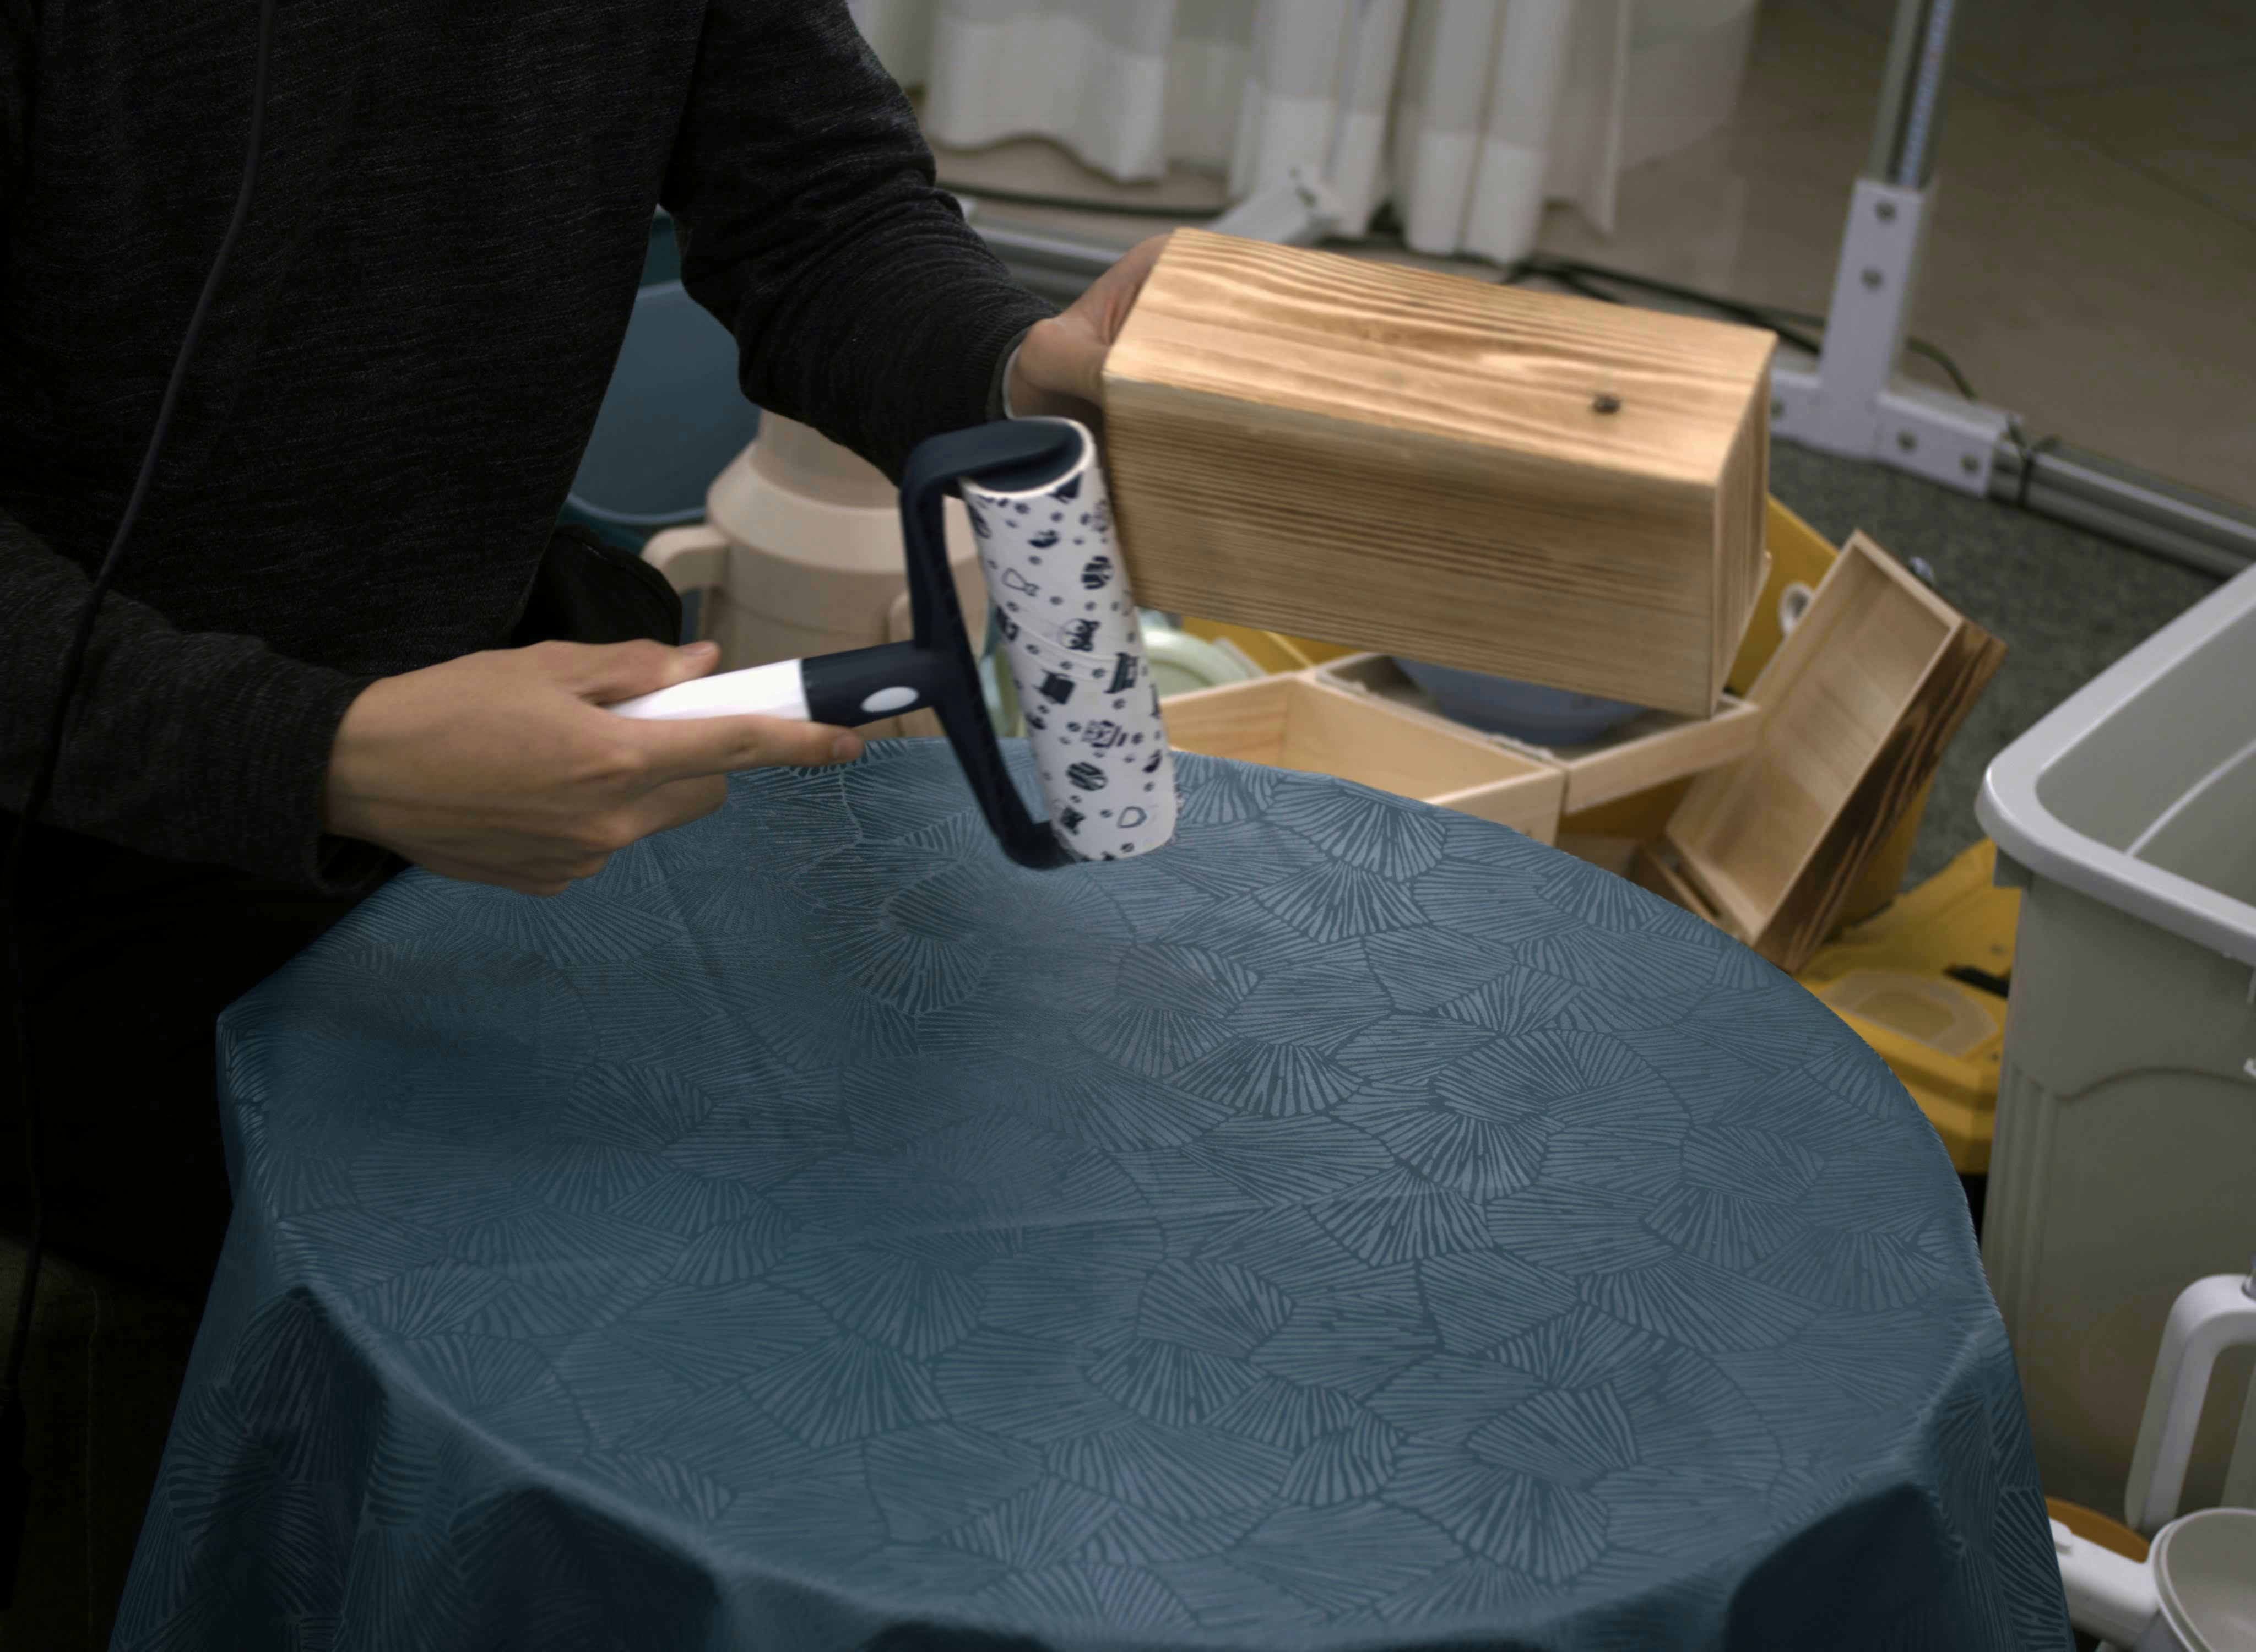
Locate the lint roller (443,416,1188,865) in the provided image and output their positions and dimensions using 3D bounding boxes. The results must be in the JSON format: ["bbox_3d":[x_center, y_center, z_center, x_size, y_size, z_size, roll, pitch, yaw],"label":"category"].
[{"bbox_3d":[-0.113,-0.039,1.815,0.246,0.175,0.051,-14,39,3],"label":"lint roller"}]

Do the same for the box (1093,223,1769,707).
[{"bbox_3d":[0.102,-0.122,1.784,0.212,0.107,0.080,11,46,17],"label":"box"}]
